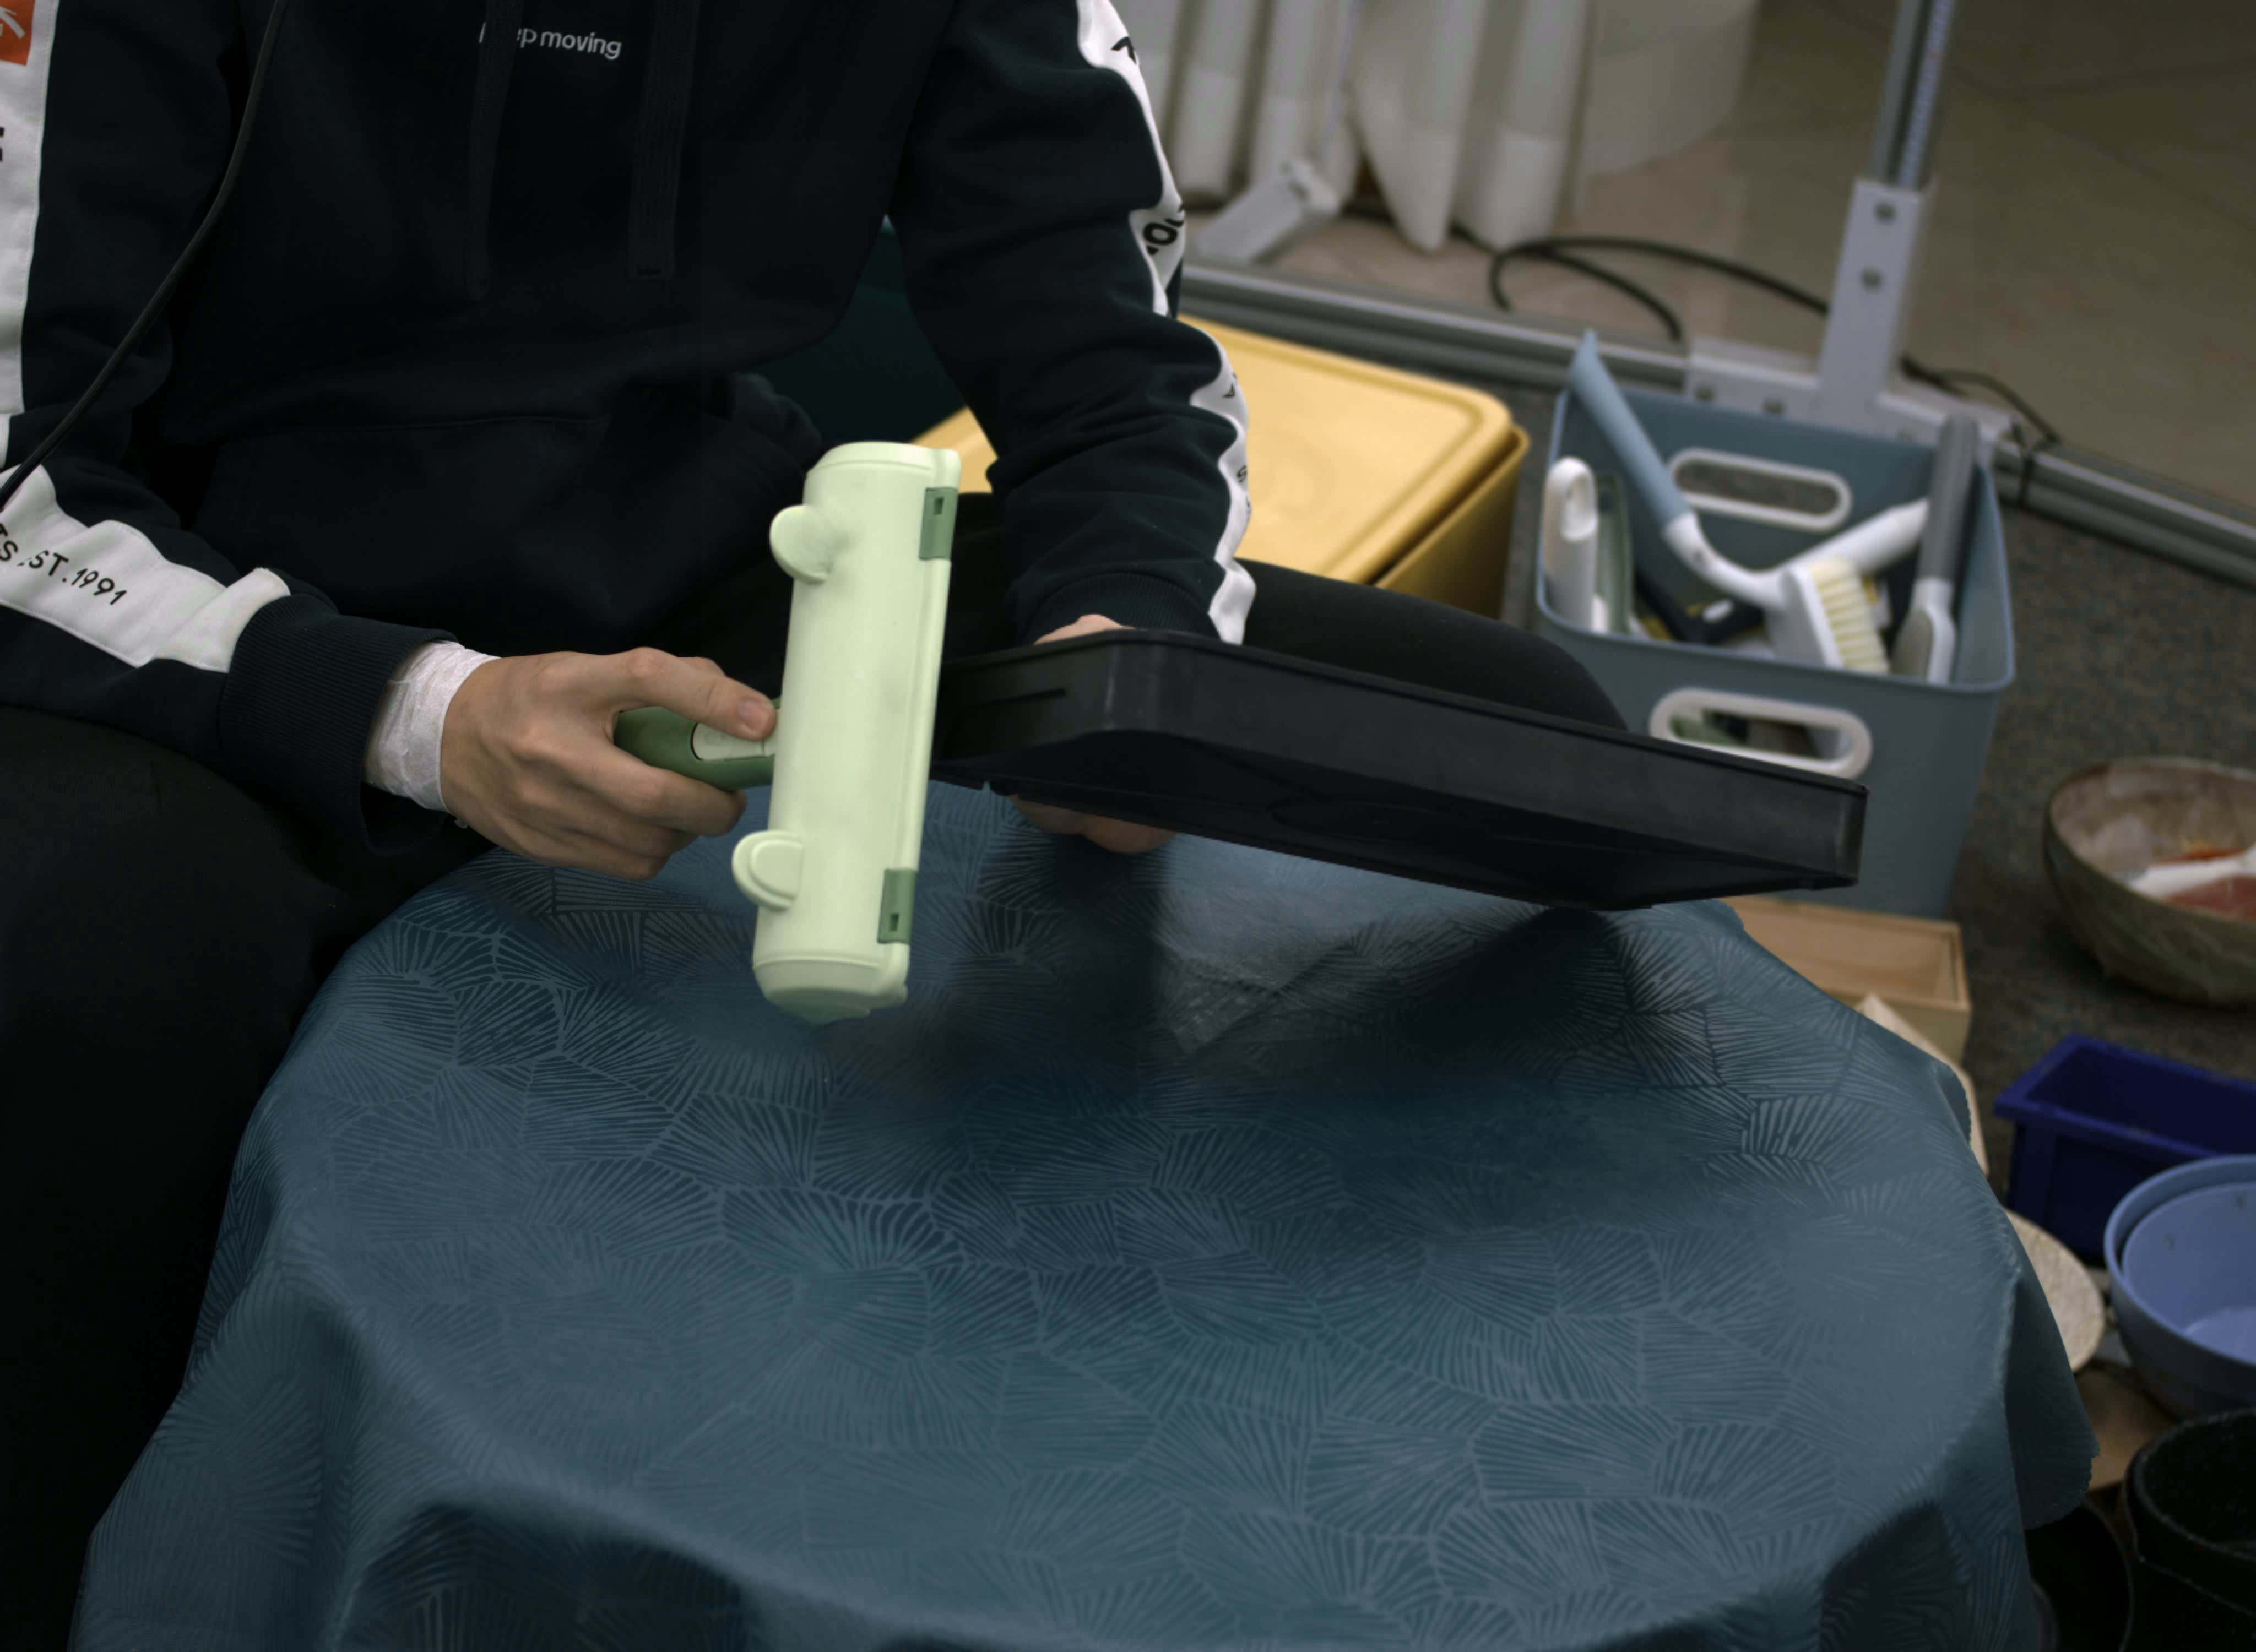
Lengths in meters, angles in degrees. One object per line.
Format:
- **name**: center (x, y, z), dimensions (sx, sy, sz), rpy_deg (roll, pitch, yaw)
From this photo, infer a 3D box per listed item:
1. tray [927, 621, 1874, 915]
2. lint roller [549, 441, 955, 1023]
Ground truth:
- **tray**: center (0.089, -0.017, 1.874), dimensions (0.315, 0.037, 0.185), rpy_deg (11, -10, -28)
- **lint roller**: center (-0.144, -0.031, 1.845), dimensions (0.184, 0.199, 0.081), rpy_deg (-4, -17, 31)
